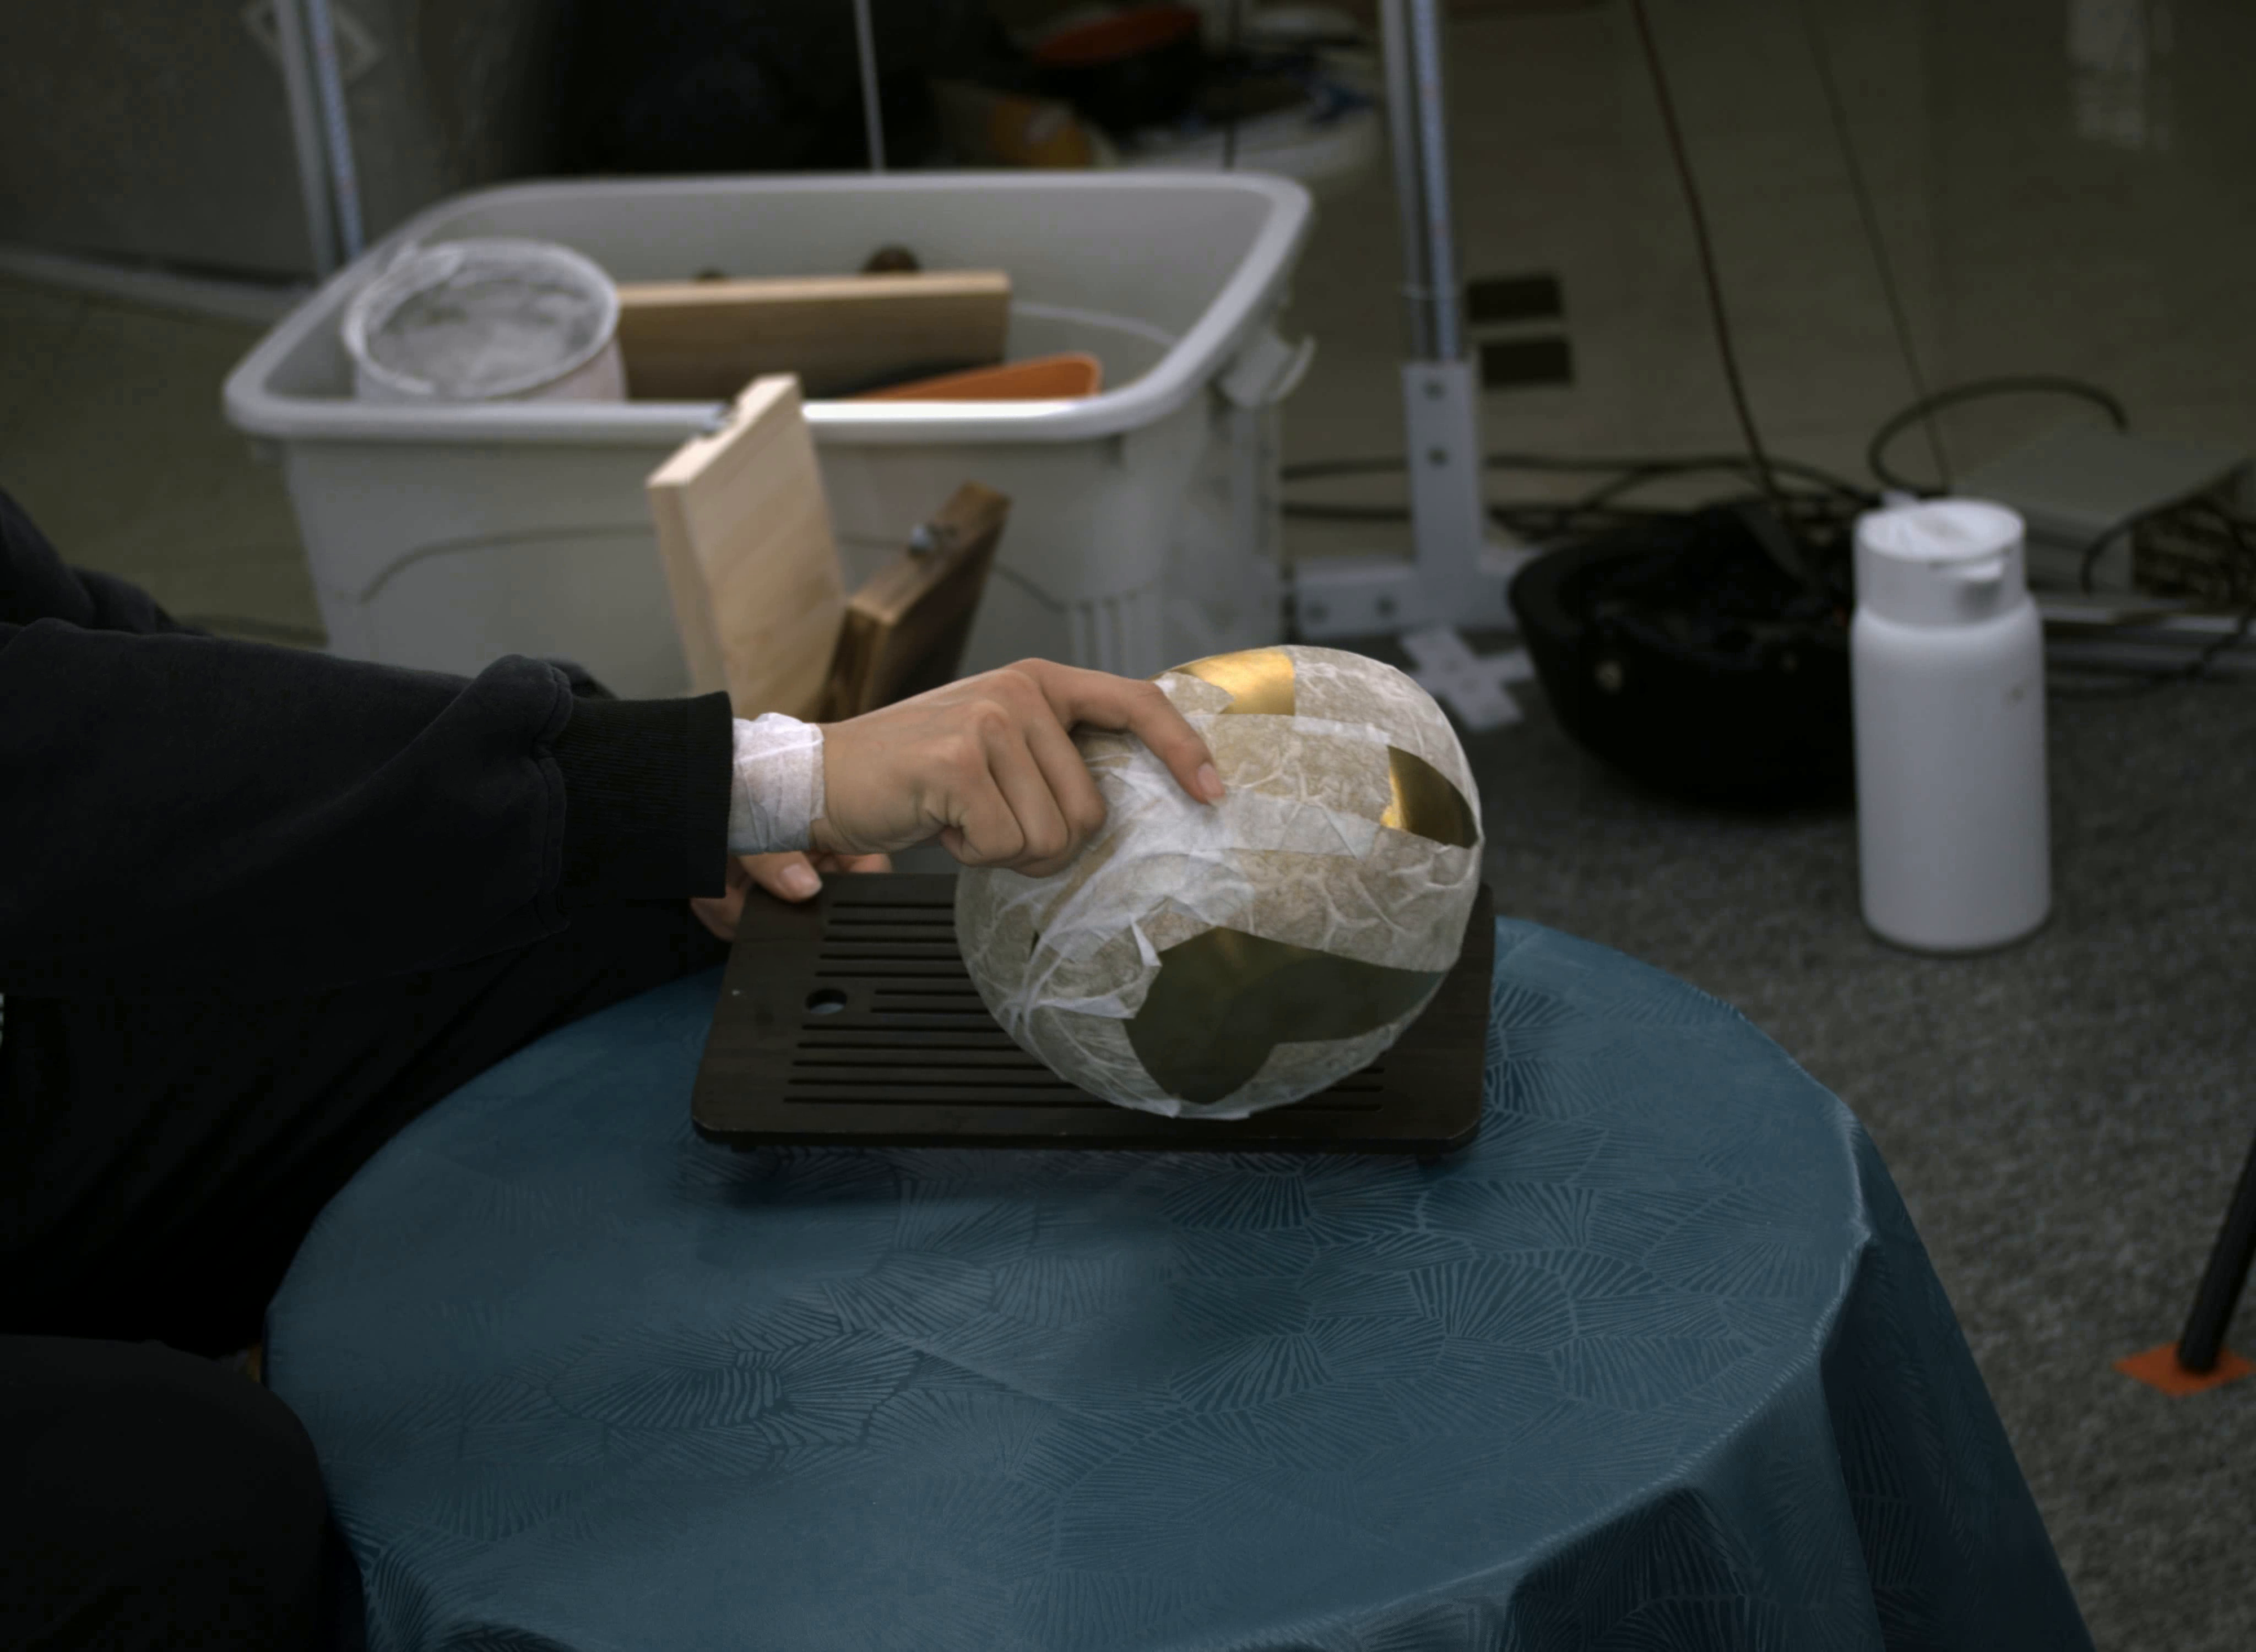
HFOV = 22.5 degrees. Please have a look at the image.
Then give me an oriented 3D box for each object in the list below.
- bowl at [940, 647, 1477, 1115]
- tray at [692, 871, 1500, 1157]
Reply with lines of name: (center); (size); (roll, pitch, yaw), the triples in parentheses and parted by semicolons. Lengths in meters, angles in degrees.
bowl: (0.040, 0.041, 2.079); (0.214, 0.219, 0.093); (-13, 50, -15)
tray: (-0.010, 0.074, 2.223); (0.305, 0.019, 0.167); (0, 36, 7)
